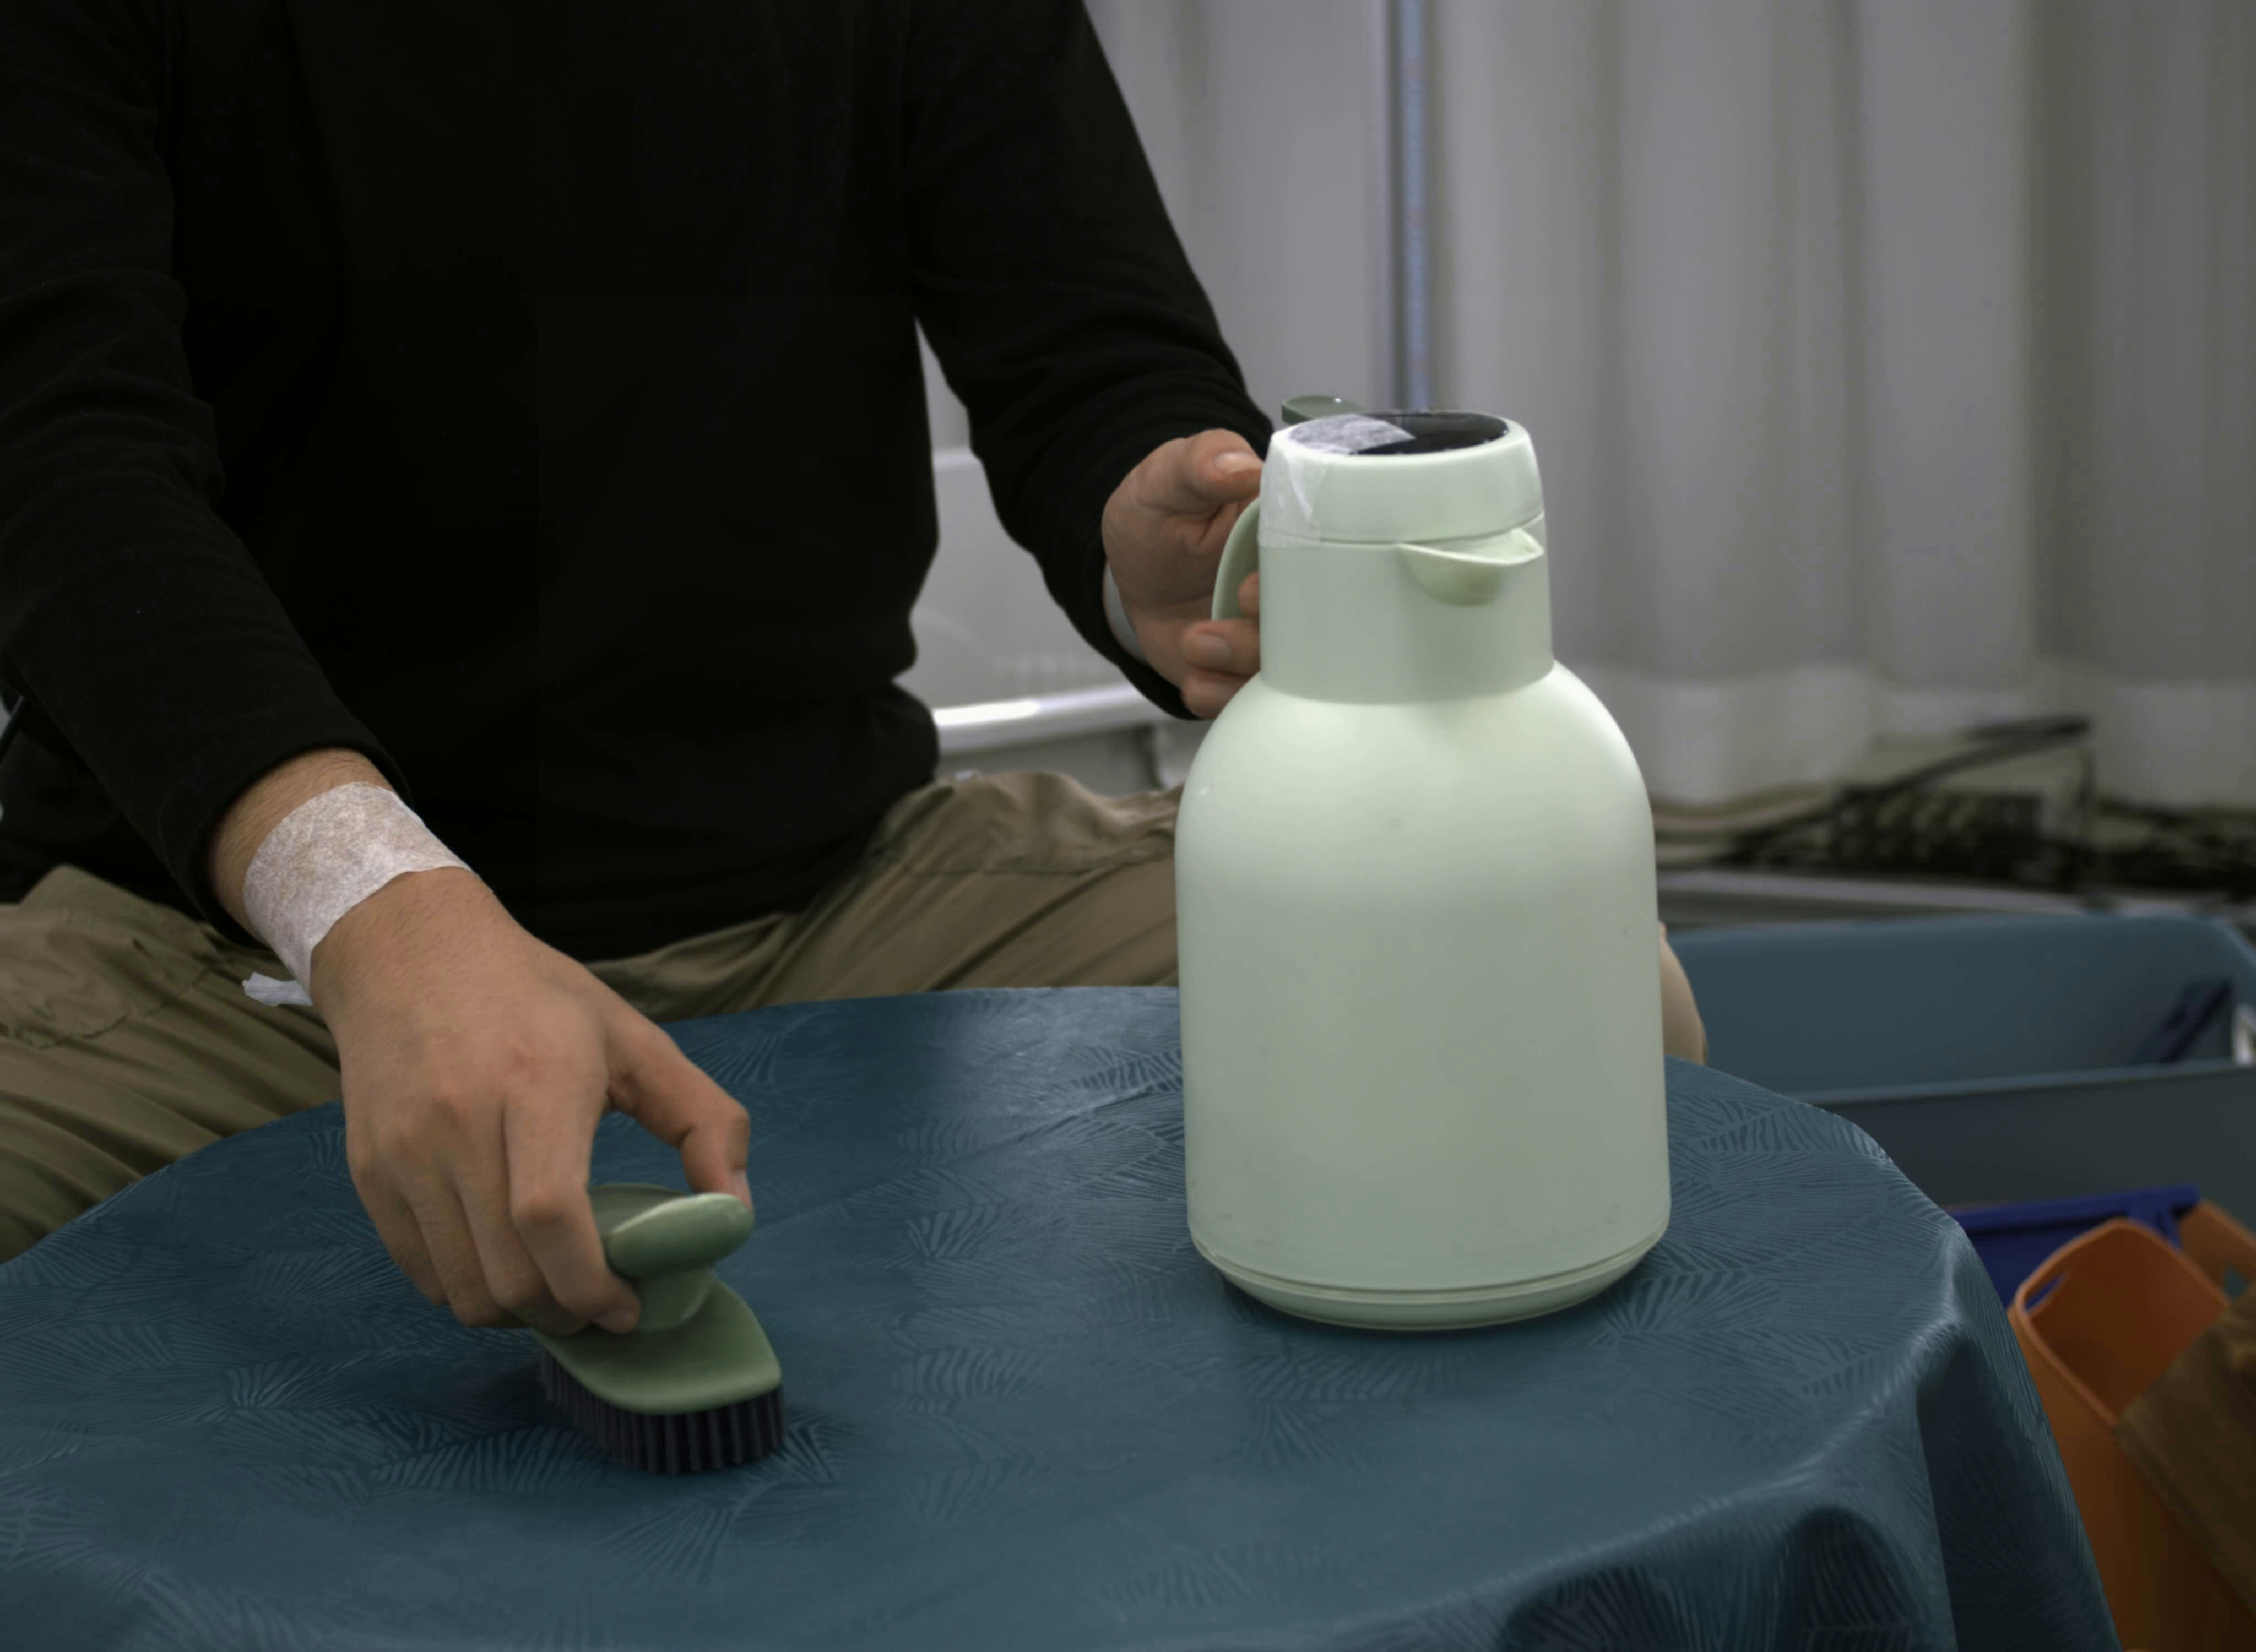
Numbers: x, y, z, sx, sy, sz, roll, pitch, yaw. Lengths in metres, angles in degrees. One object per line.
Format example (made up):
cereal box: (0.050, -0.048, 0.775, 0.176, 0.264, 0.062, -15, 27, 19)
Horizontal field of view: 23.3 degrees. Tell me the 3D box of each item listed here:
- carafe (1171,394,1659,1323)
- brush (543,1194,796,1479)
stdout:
carafe: (0.077, 0.004, 1.619, 0.143, 0.256, 0.188, -8, 12, -23)
brush: (-0.130, 0.144, 1.545, 0.059, 0.076, 0.123, -11, -3, -18)
